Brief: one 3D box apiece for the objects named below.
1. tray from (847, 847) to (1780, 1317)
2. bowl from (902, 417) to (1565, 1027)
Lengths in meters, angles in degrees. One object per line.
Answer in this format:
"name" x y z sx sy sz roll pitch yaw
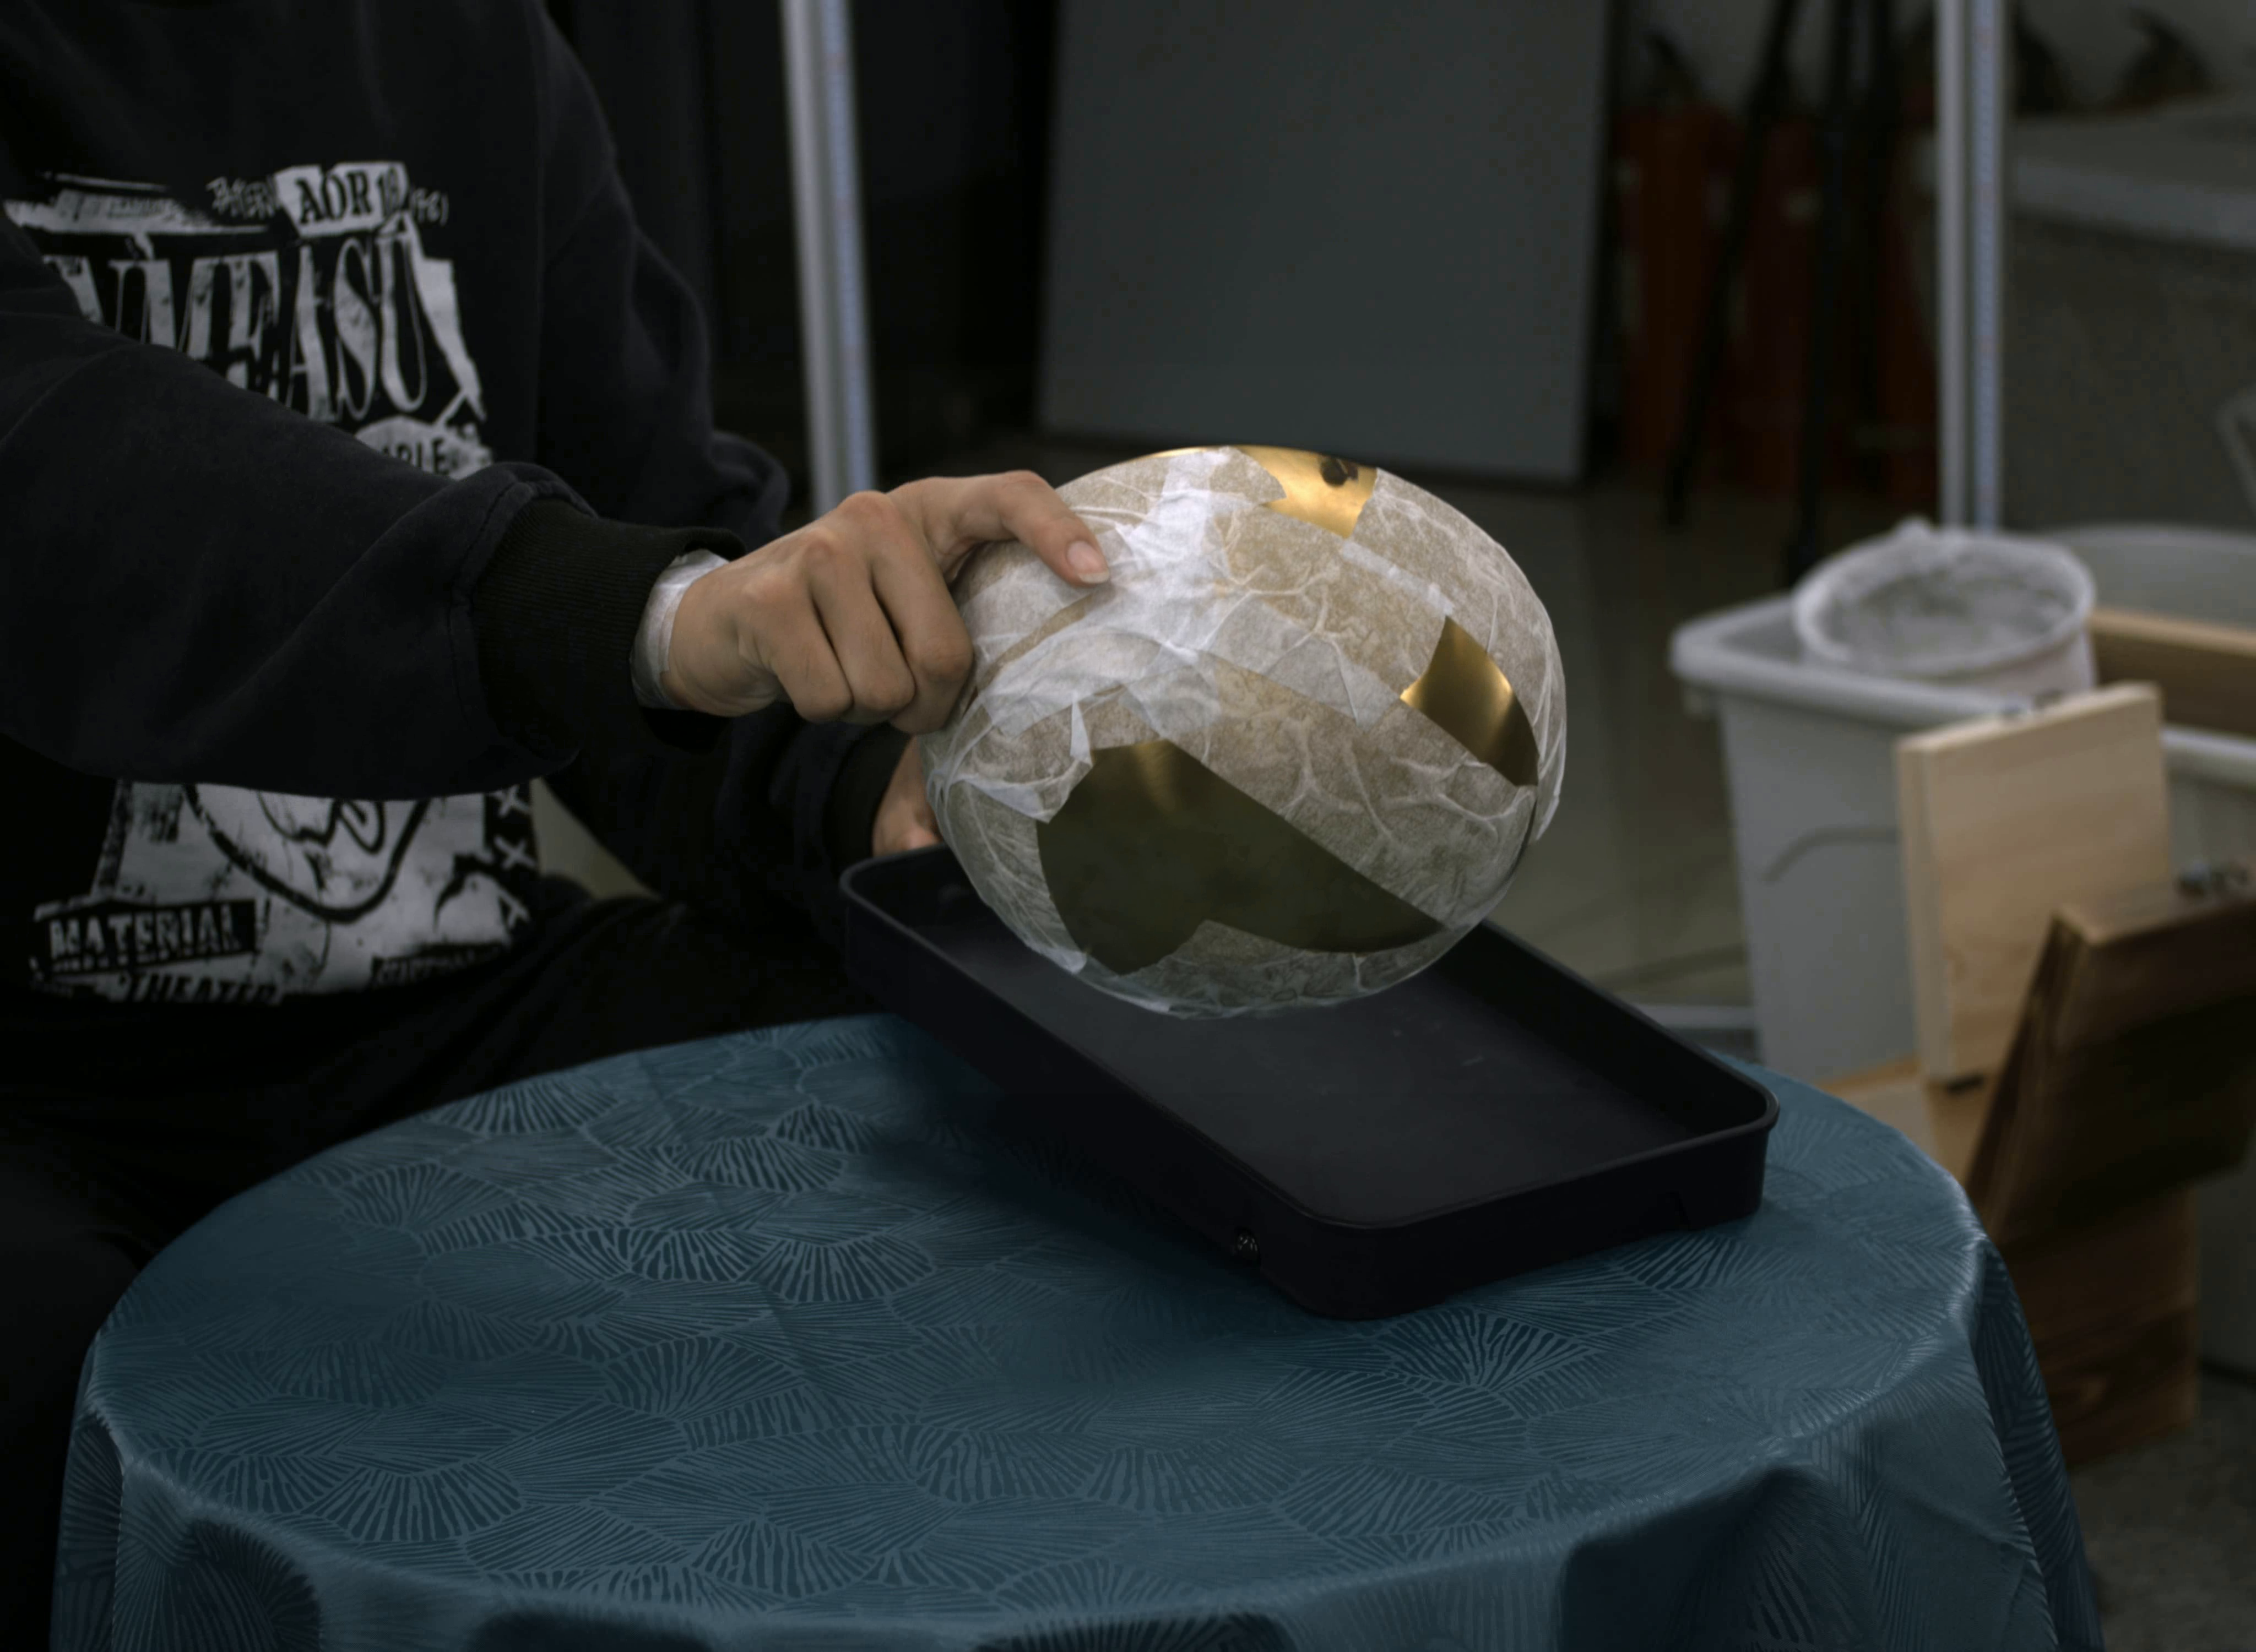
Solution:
"tray" 0.055 0.067 1.781 0.180 0.037 0.321 -14 26 -29
"bowl" 0.030 -0.009 1.626 0.212 0.215 0.095 -2 40 6
